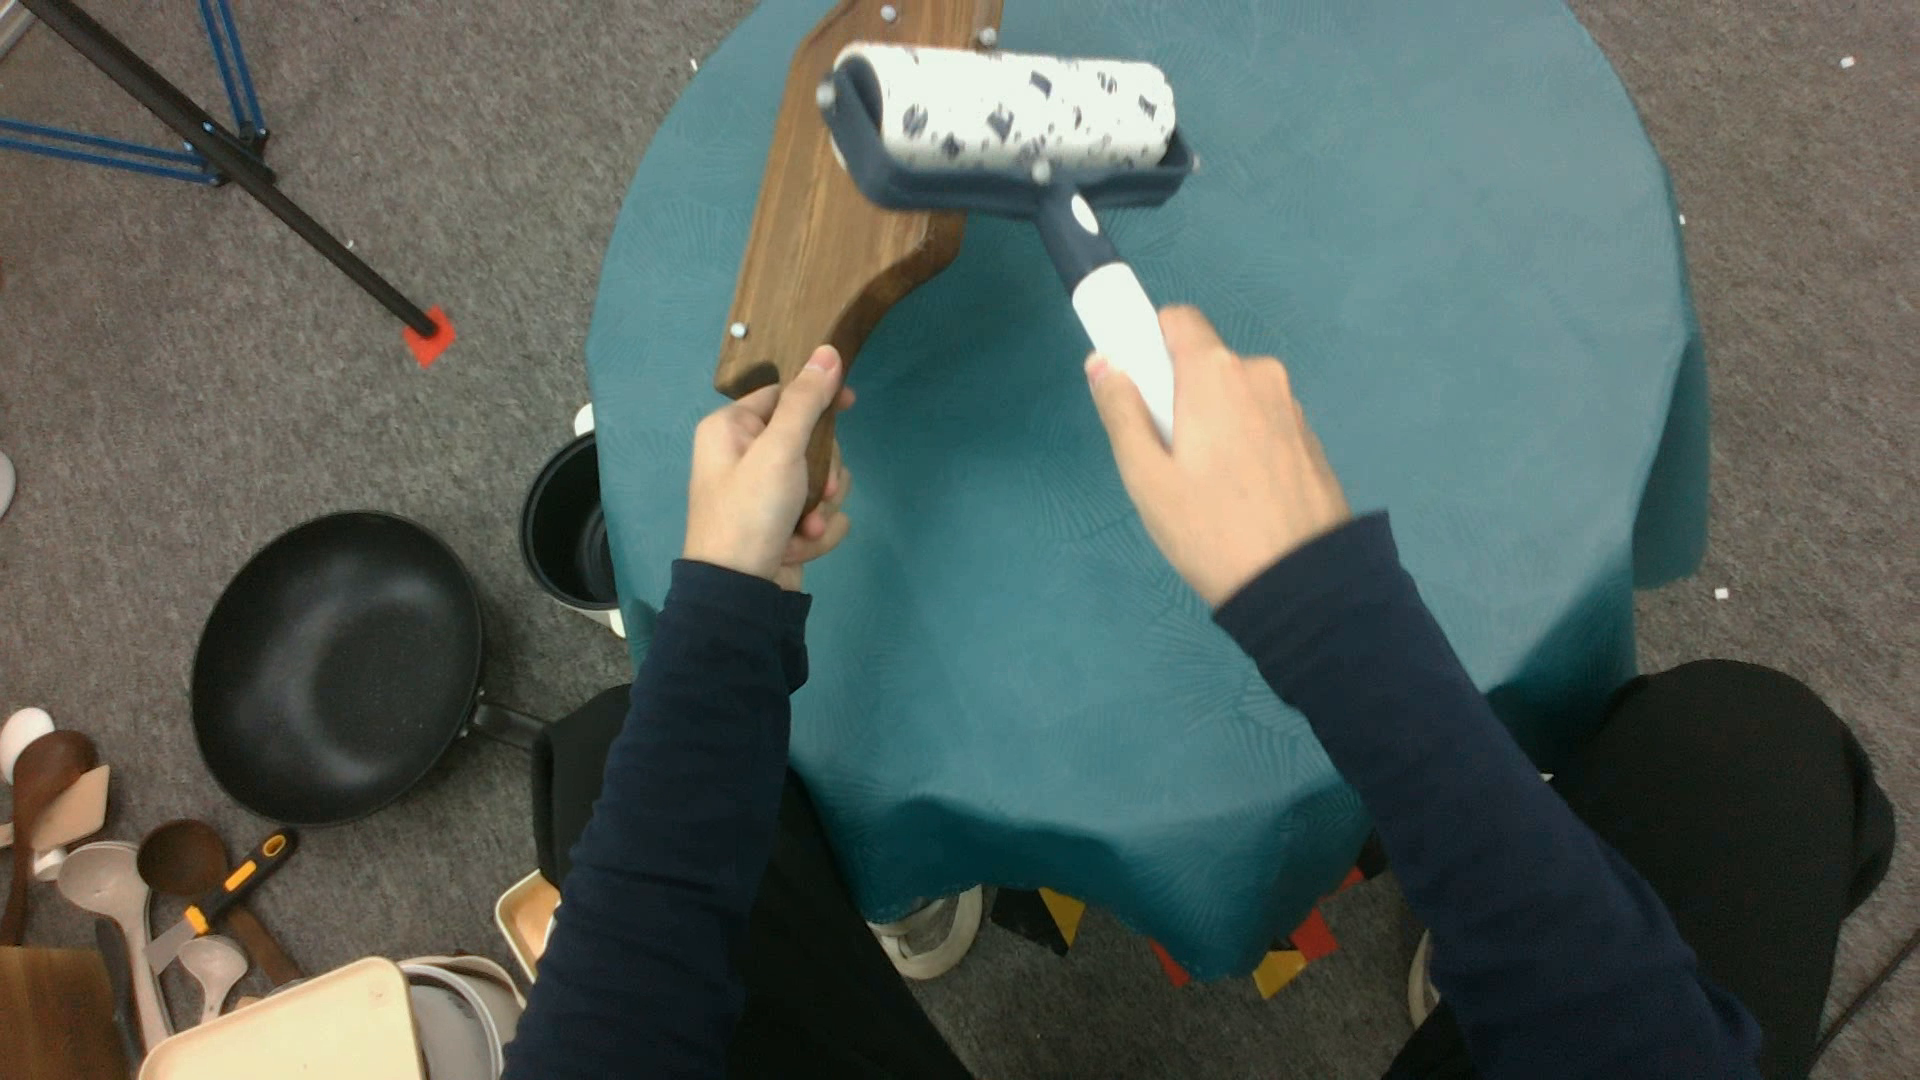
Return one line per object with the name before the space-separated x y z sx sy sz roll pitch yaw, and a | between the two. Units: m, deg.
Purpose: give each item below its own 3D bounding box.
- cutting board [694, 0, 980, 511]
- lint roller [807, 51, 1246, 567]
cutting board | -0.067 -0.173 0.699 0.200 0.023 0.353 -23 51 46
lint roller | 0.058 -0.102 0.572 0.177 0.050 0.247 -12 66 -37
